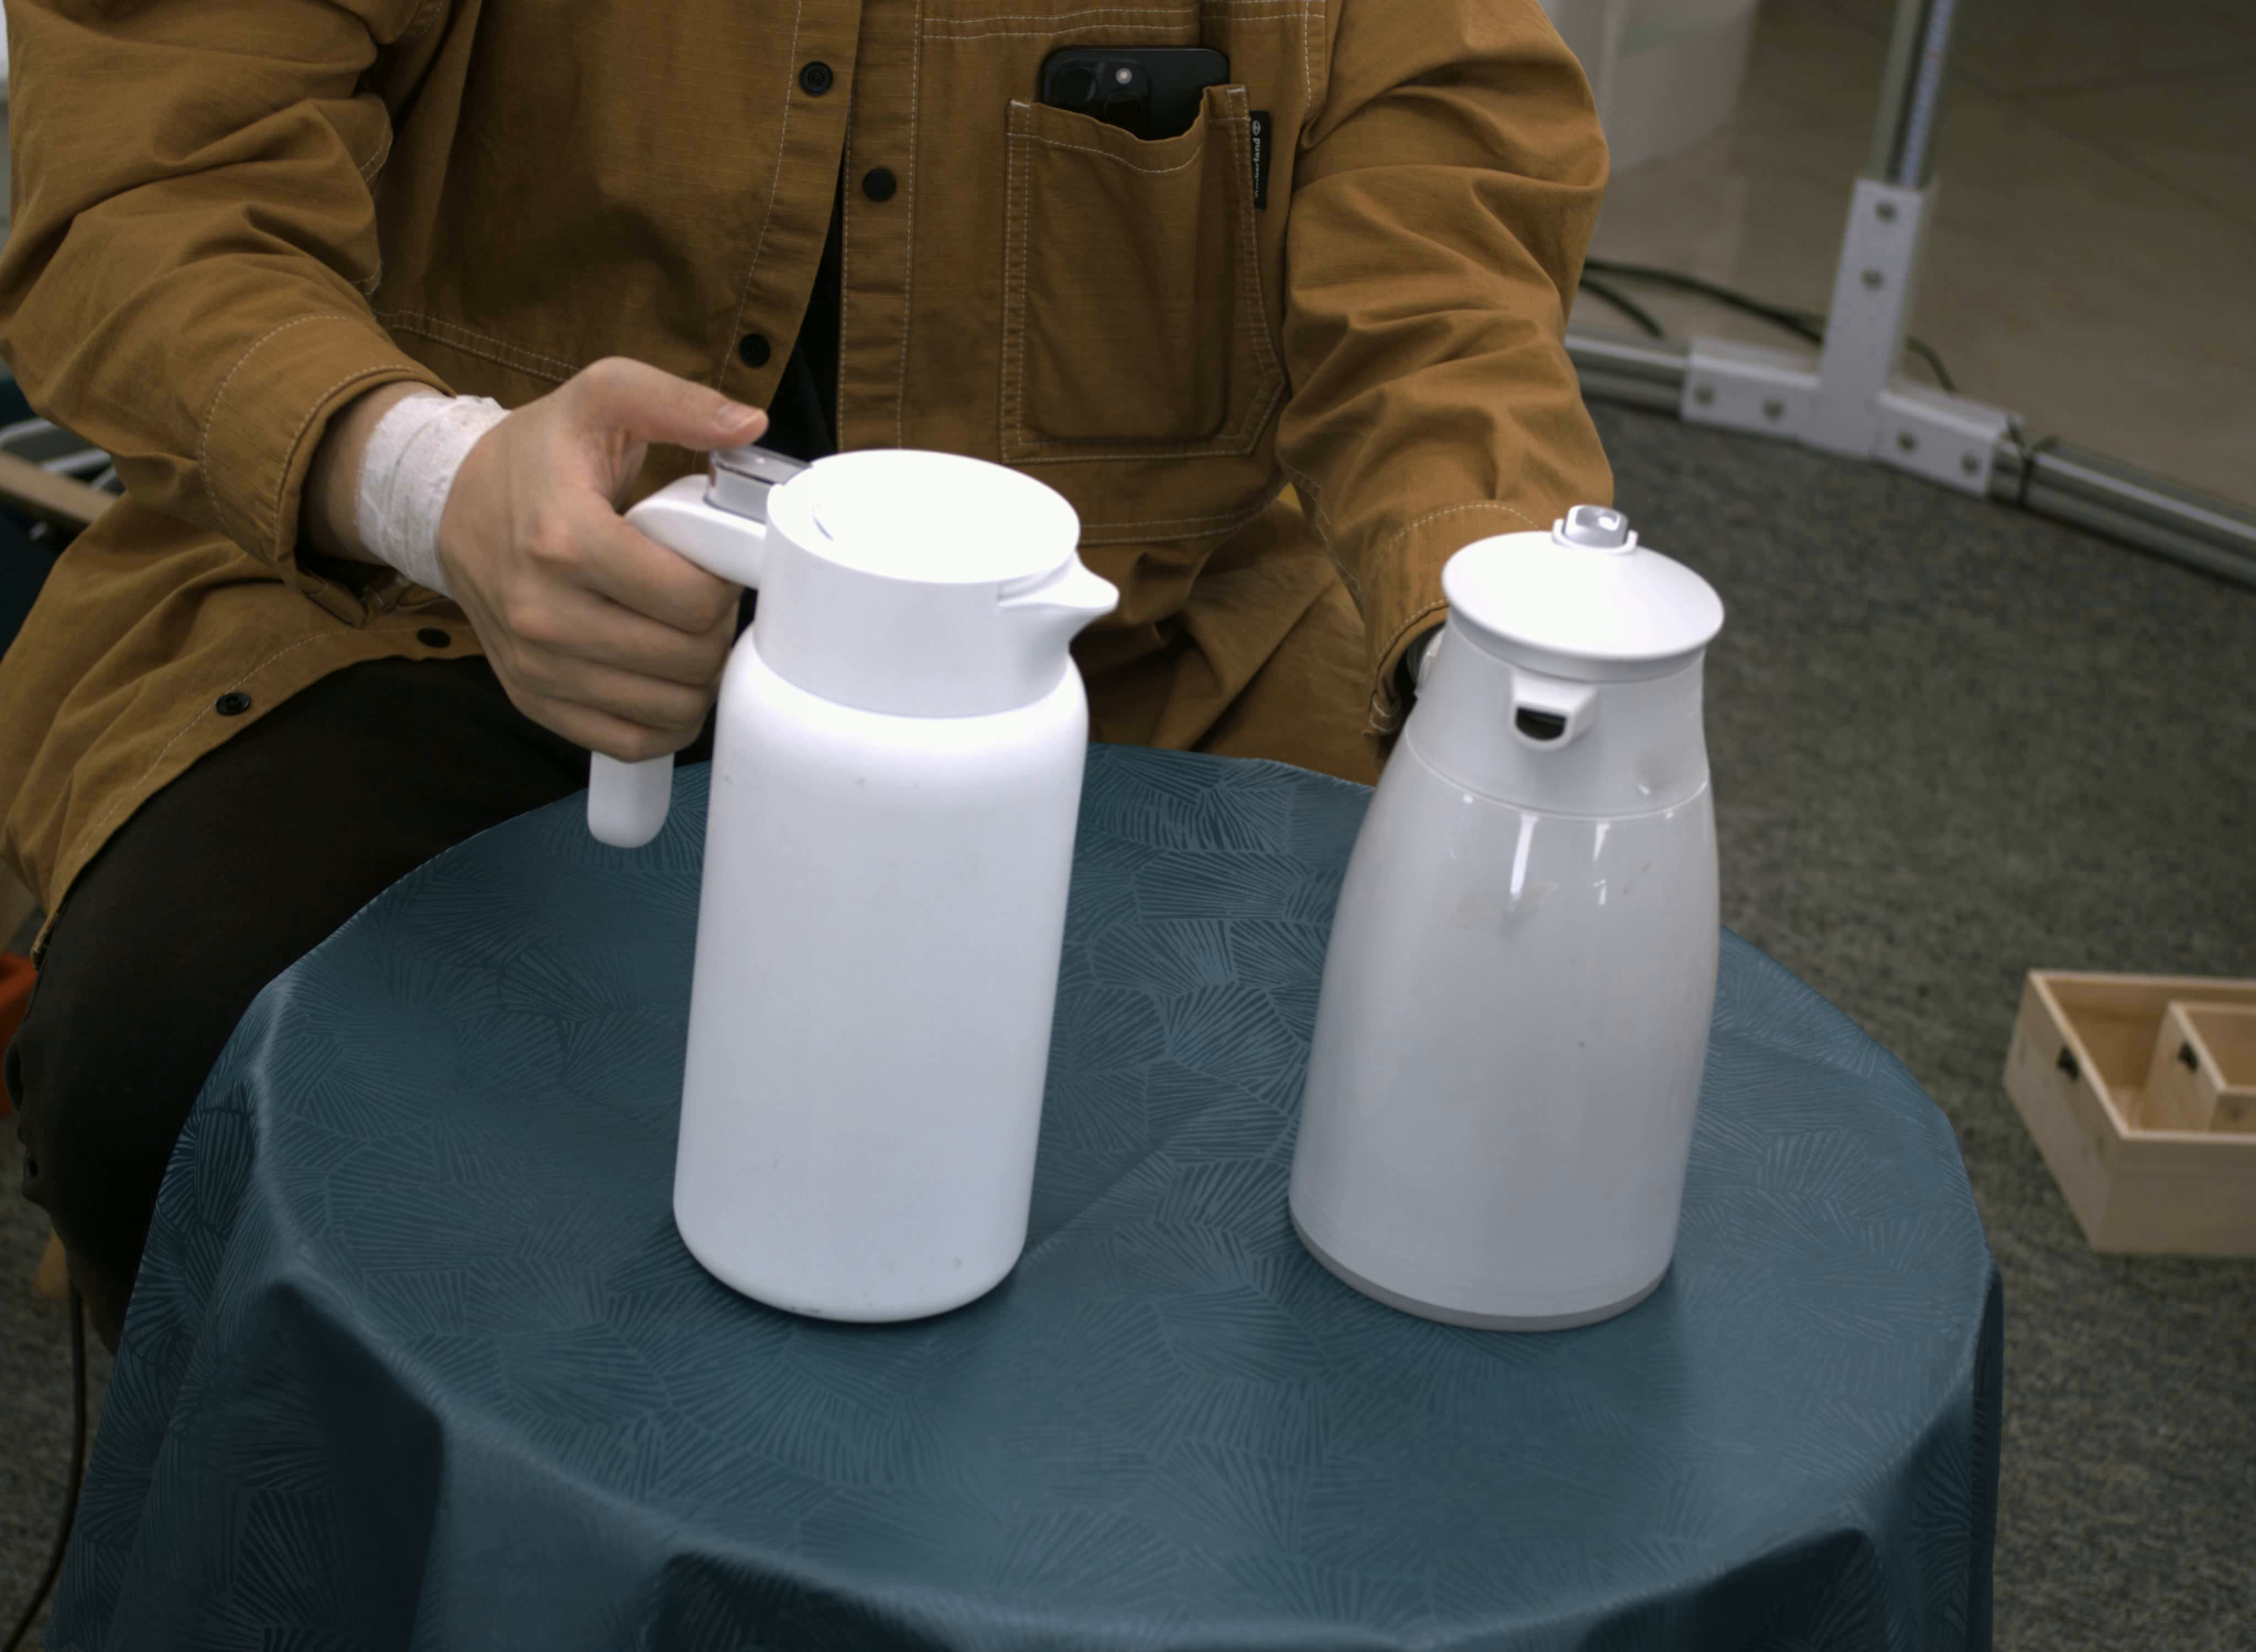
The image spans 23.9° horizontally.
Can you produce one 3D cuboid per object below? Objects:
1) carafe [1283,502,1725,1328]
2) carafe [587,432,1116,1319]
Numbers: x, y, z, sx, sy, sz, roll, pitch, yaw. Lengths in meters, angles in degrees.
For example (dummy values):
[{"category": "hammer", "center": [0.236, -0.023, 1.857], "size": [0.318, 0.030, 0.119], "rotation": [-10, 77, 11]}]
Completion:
[{"category": "carafe", "center": [0.135, 0.018, 1.769], "size": [0.132, 0.248, 0.168], "rotation": [11, 26, 9]}, {"category": "carafe", "center": [-0.095, 0.013, 1.706], "size": [0.173, 0.268, 0.124], "rotation": [18, 30, 22]}]
